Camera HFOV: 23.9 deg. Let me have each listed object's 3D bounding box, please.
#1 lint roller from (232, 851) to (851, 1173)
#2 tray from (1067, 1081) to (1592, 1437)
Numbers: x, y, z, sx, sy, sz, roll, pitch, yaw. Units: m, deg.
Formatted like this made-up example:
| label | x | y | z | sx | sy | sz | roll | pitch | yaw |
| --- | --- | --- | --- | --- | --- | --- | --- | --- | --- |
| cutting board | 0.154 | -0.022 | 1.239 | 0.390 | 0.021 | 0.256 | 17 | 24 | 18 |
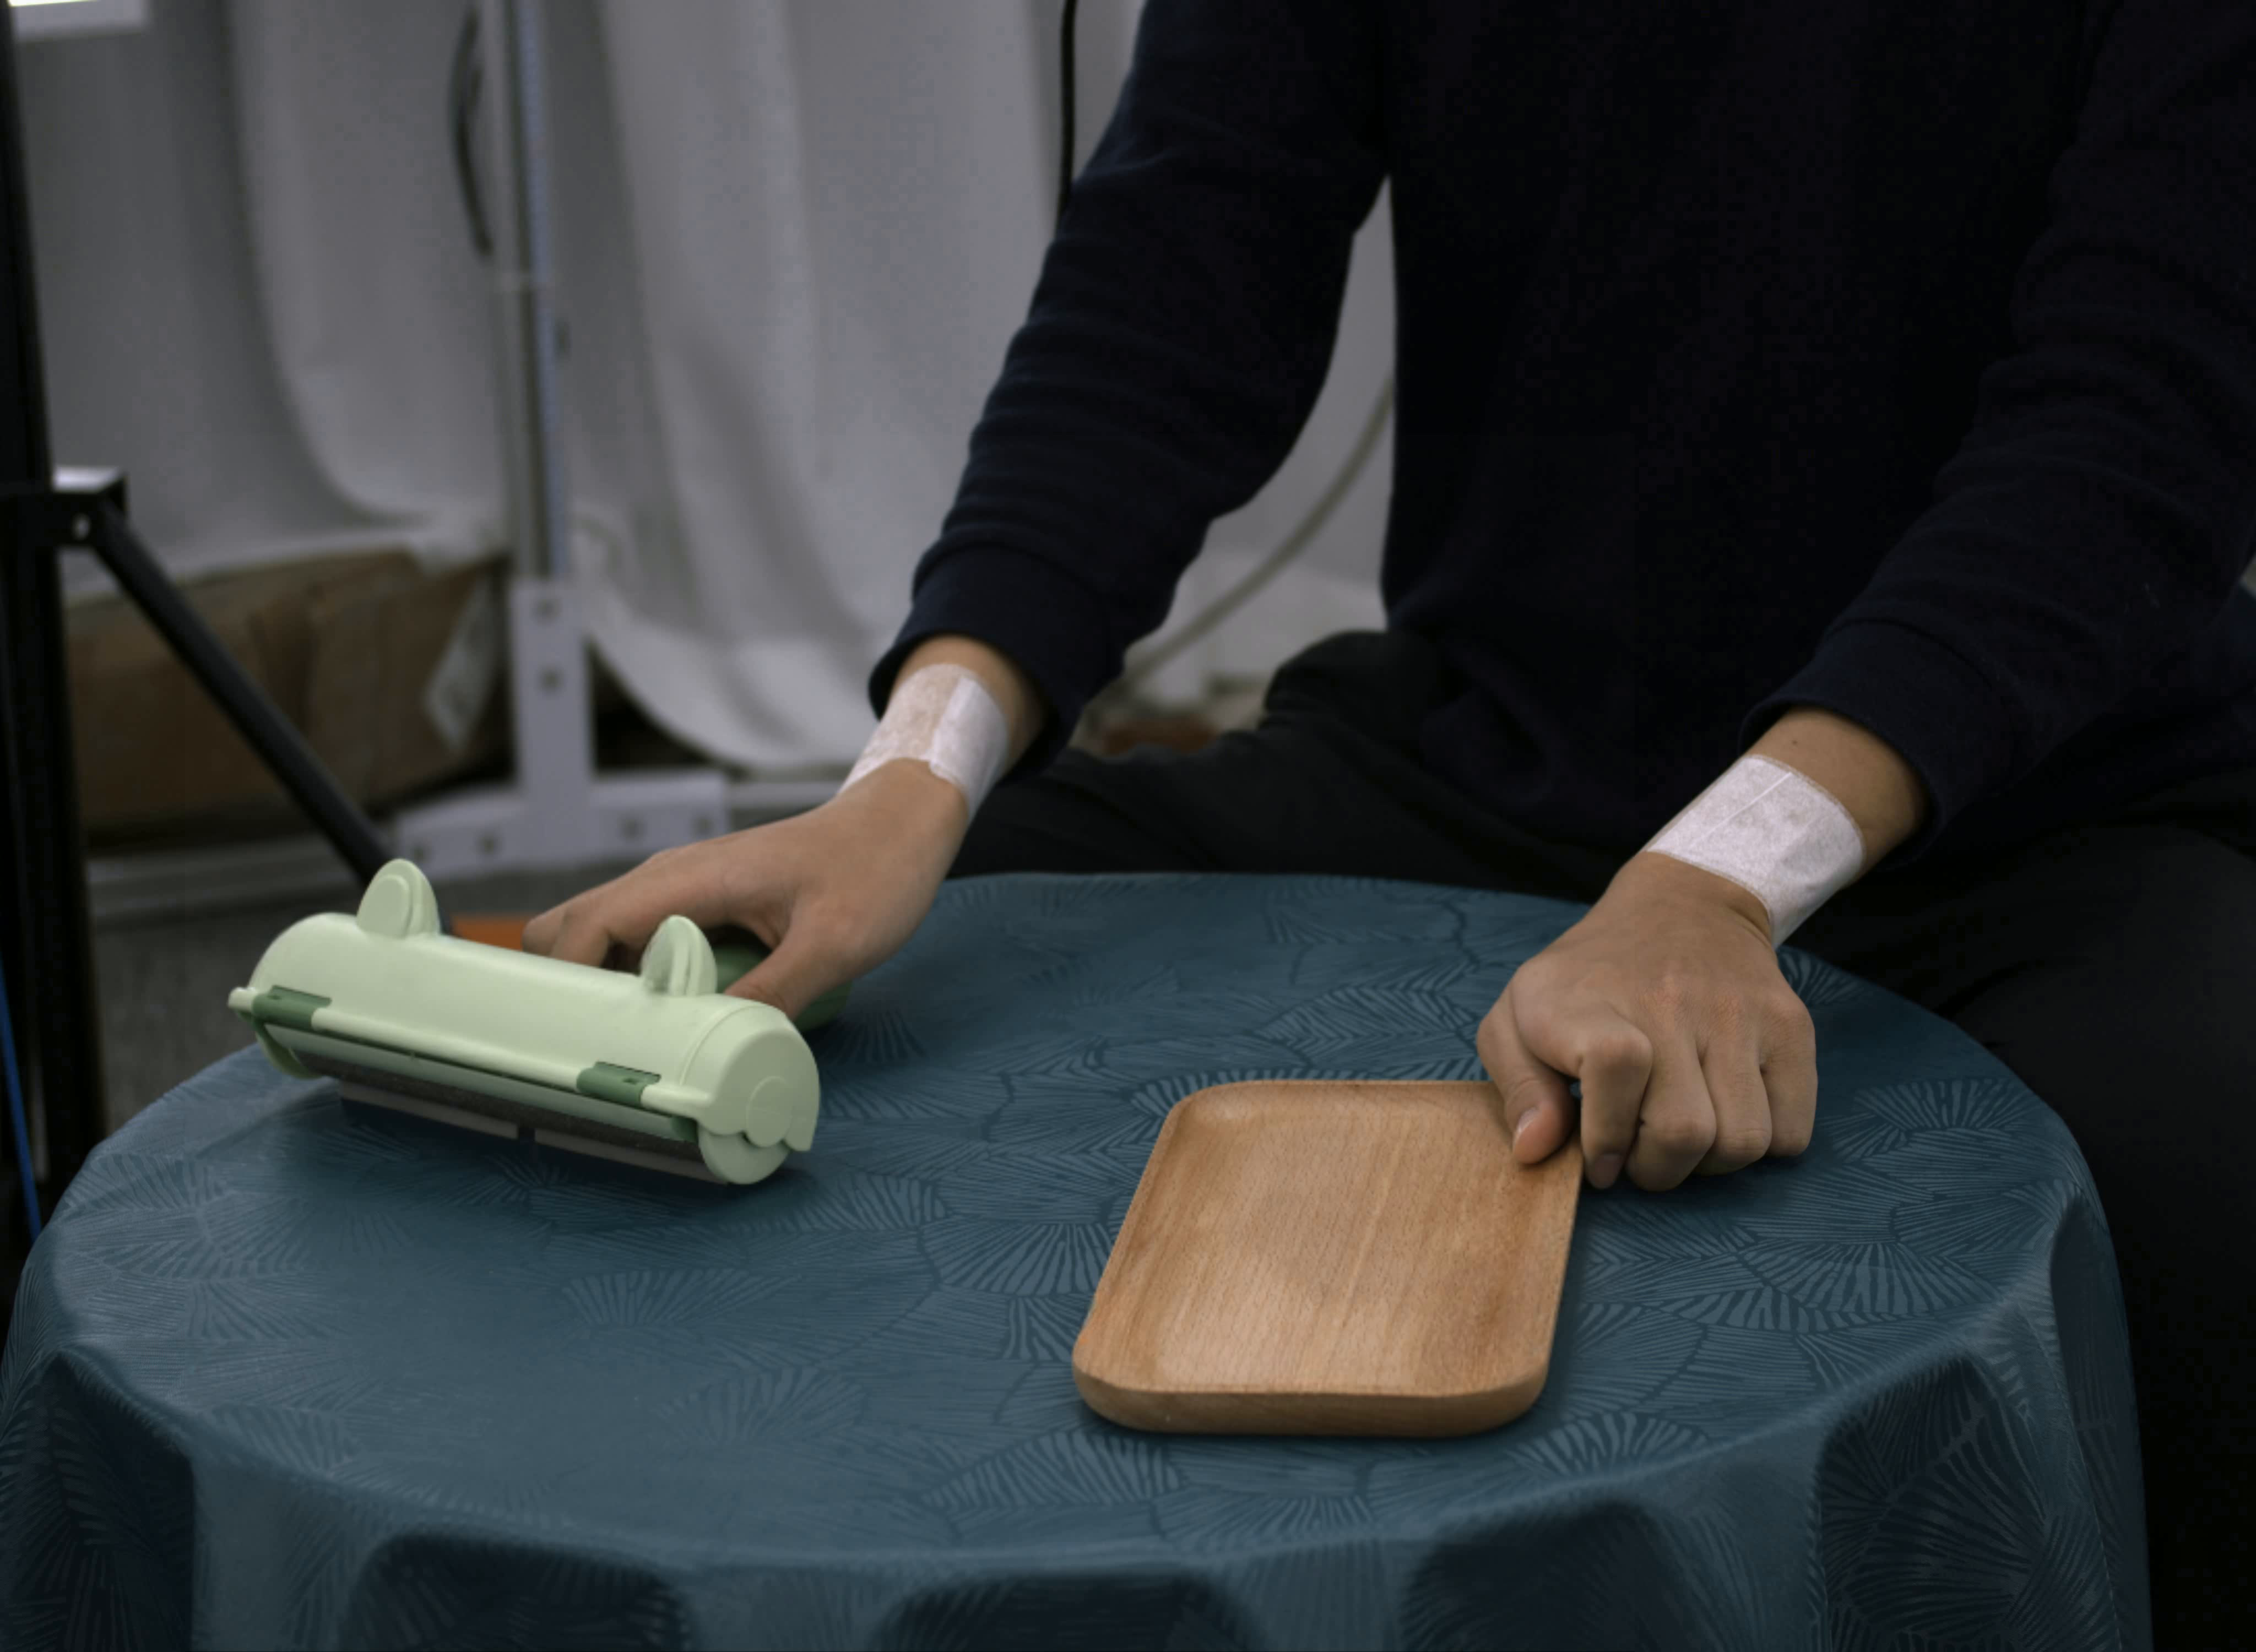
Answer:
| label | x | y | z | sx | sy | sz | roll | pitch | yaw |
| --- | --- | --- | --- | --- | --- | --- | --- | --- | --- |
| lint roller | -0.150 | 0.040 | 1.664 | 0.203 | 0.082 | 0.180 | 10 | 26 | 37 |
| tray | 0.061 | 0.118 | 1.482 | 0.131 | 0.023 | 0.250 | 2 | 16 | 9 |
